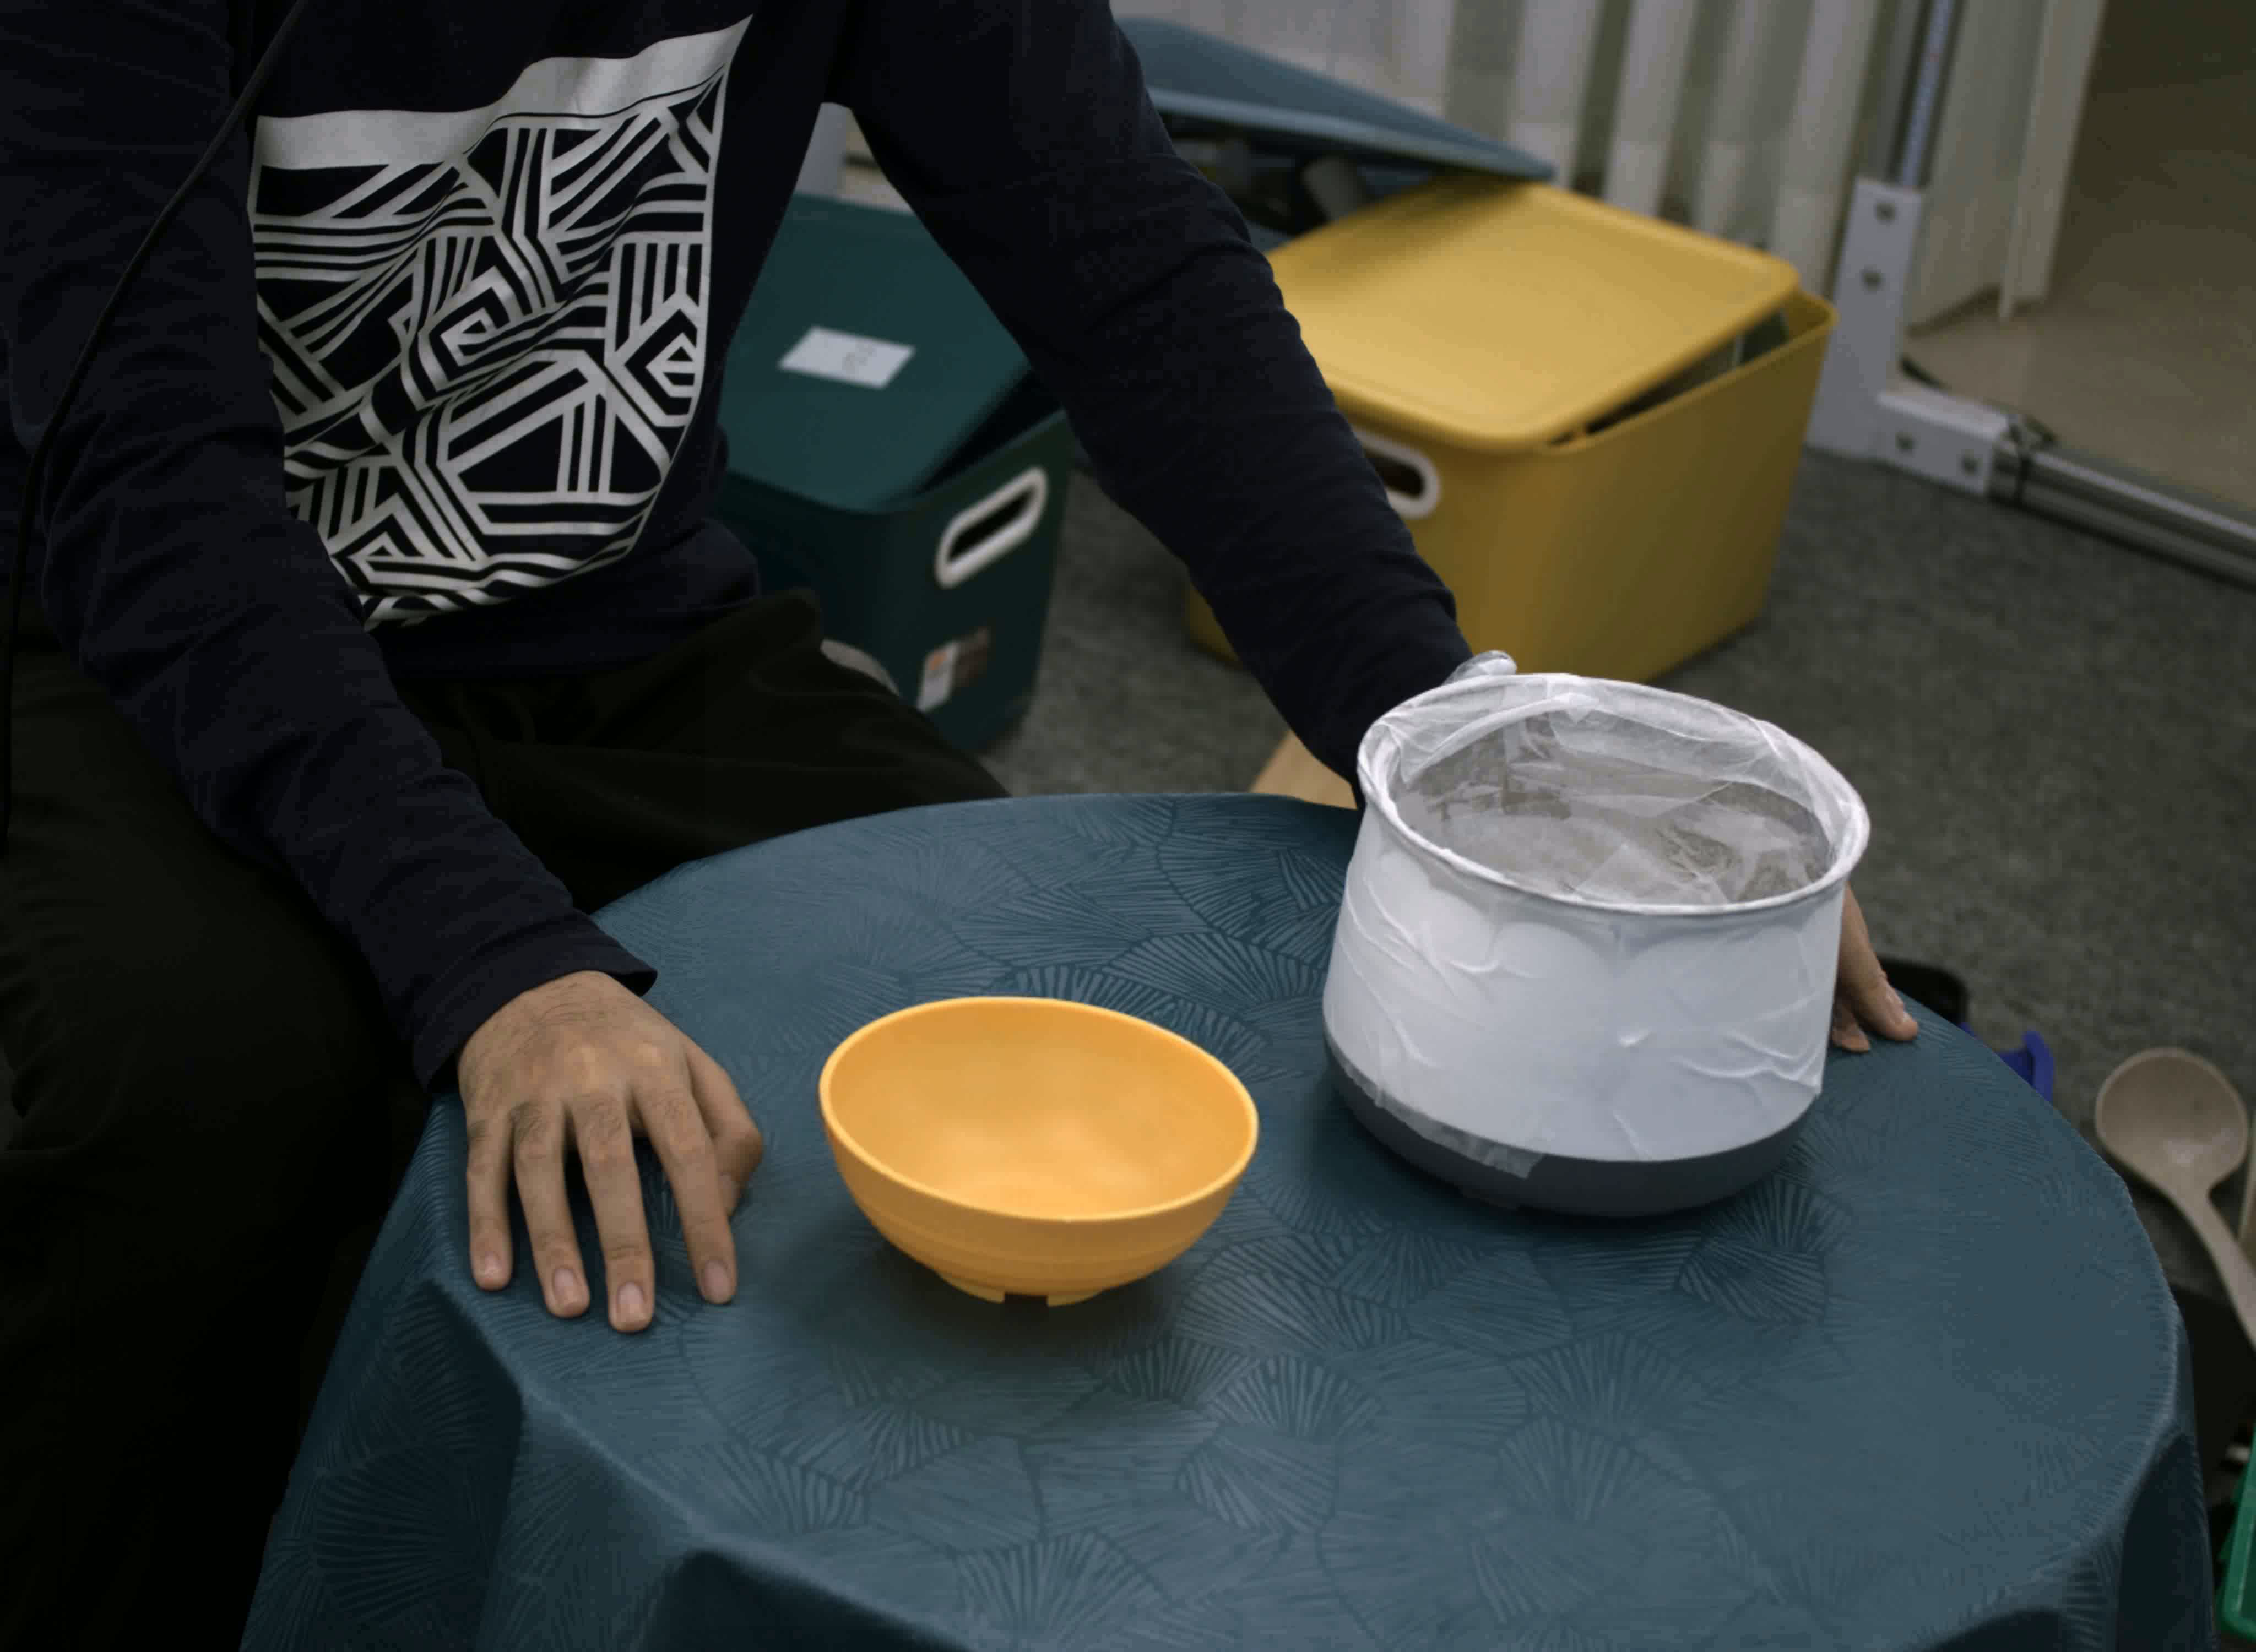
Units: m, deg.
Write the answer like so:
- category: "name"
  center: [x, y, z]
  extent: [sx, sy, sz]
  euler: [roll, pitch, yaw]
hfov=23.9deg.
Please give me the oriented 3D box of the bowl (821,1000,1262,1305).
- category: "bowl"
  center: [-0.030, 0.116, 1.746]
  extent: [0.145, 0.060, 0.146]
  euler: [4, 26, -2]

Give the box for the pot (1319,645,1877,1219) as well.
- category: "pot"
  center: [0.149, 0.030, 1.871]
  extent: [0.177, 0.136, 0.236]
  euler: [-2, 29, -24]
